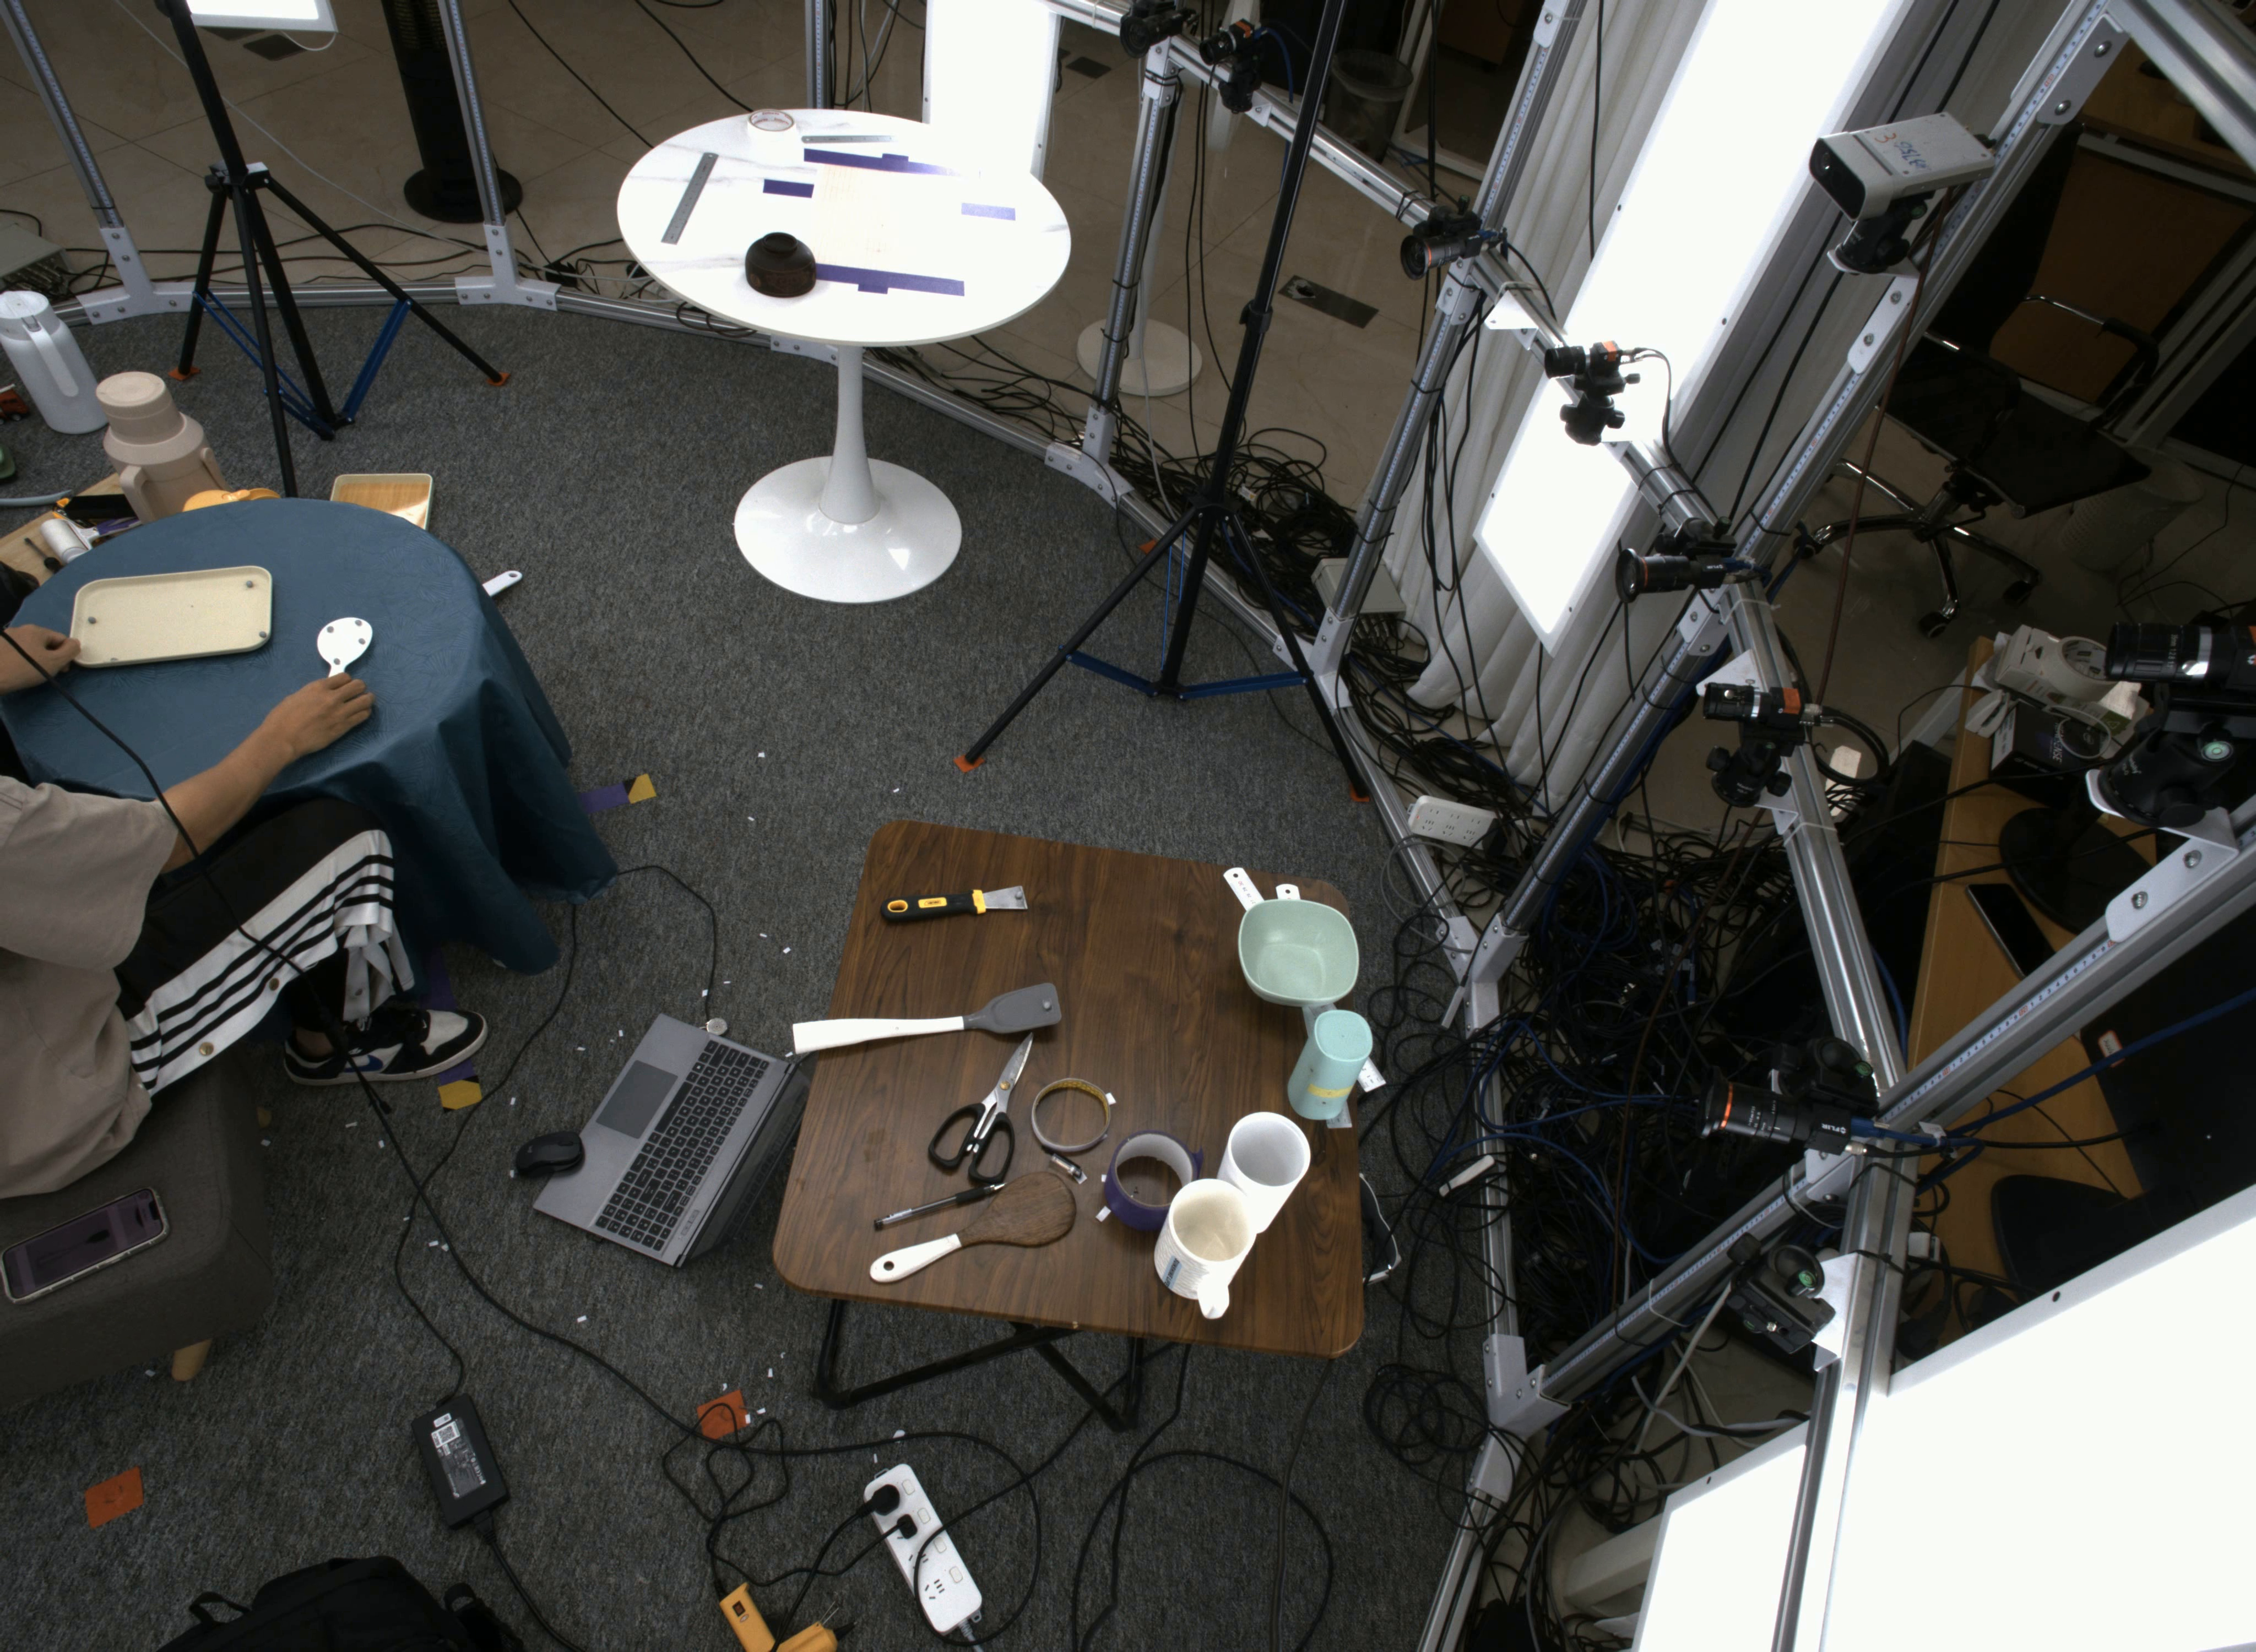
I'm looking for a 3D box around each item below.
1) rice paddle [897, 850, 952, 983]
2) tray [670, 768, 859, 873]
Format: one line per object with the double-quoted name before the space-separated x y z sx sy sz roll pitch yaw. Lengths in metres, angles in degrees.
"rice paddle" -0.267 0.106 1.670 0.068 0.030 0.201 10 50 -8
"tray" -0.479 -0.007 1.716 0.239 0.018 0.167 2 53 -12
